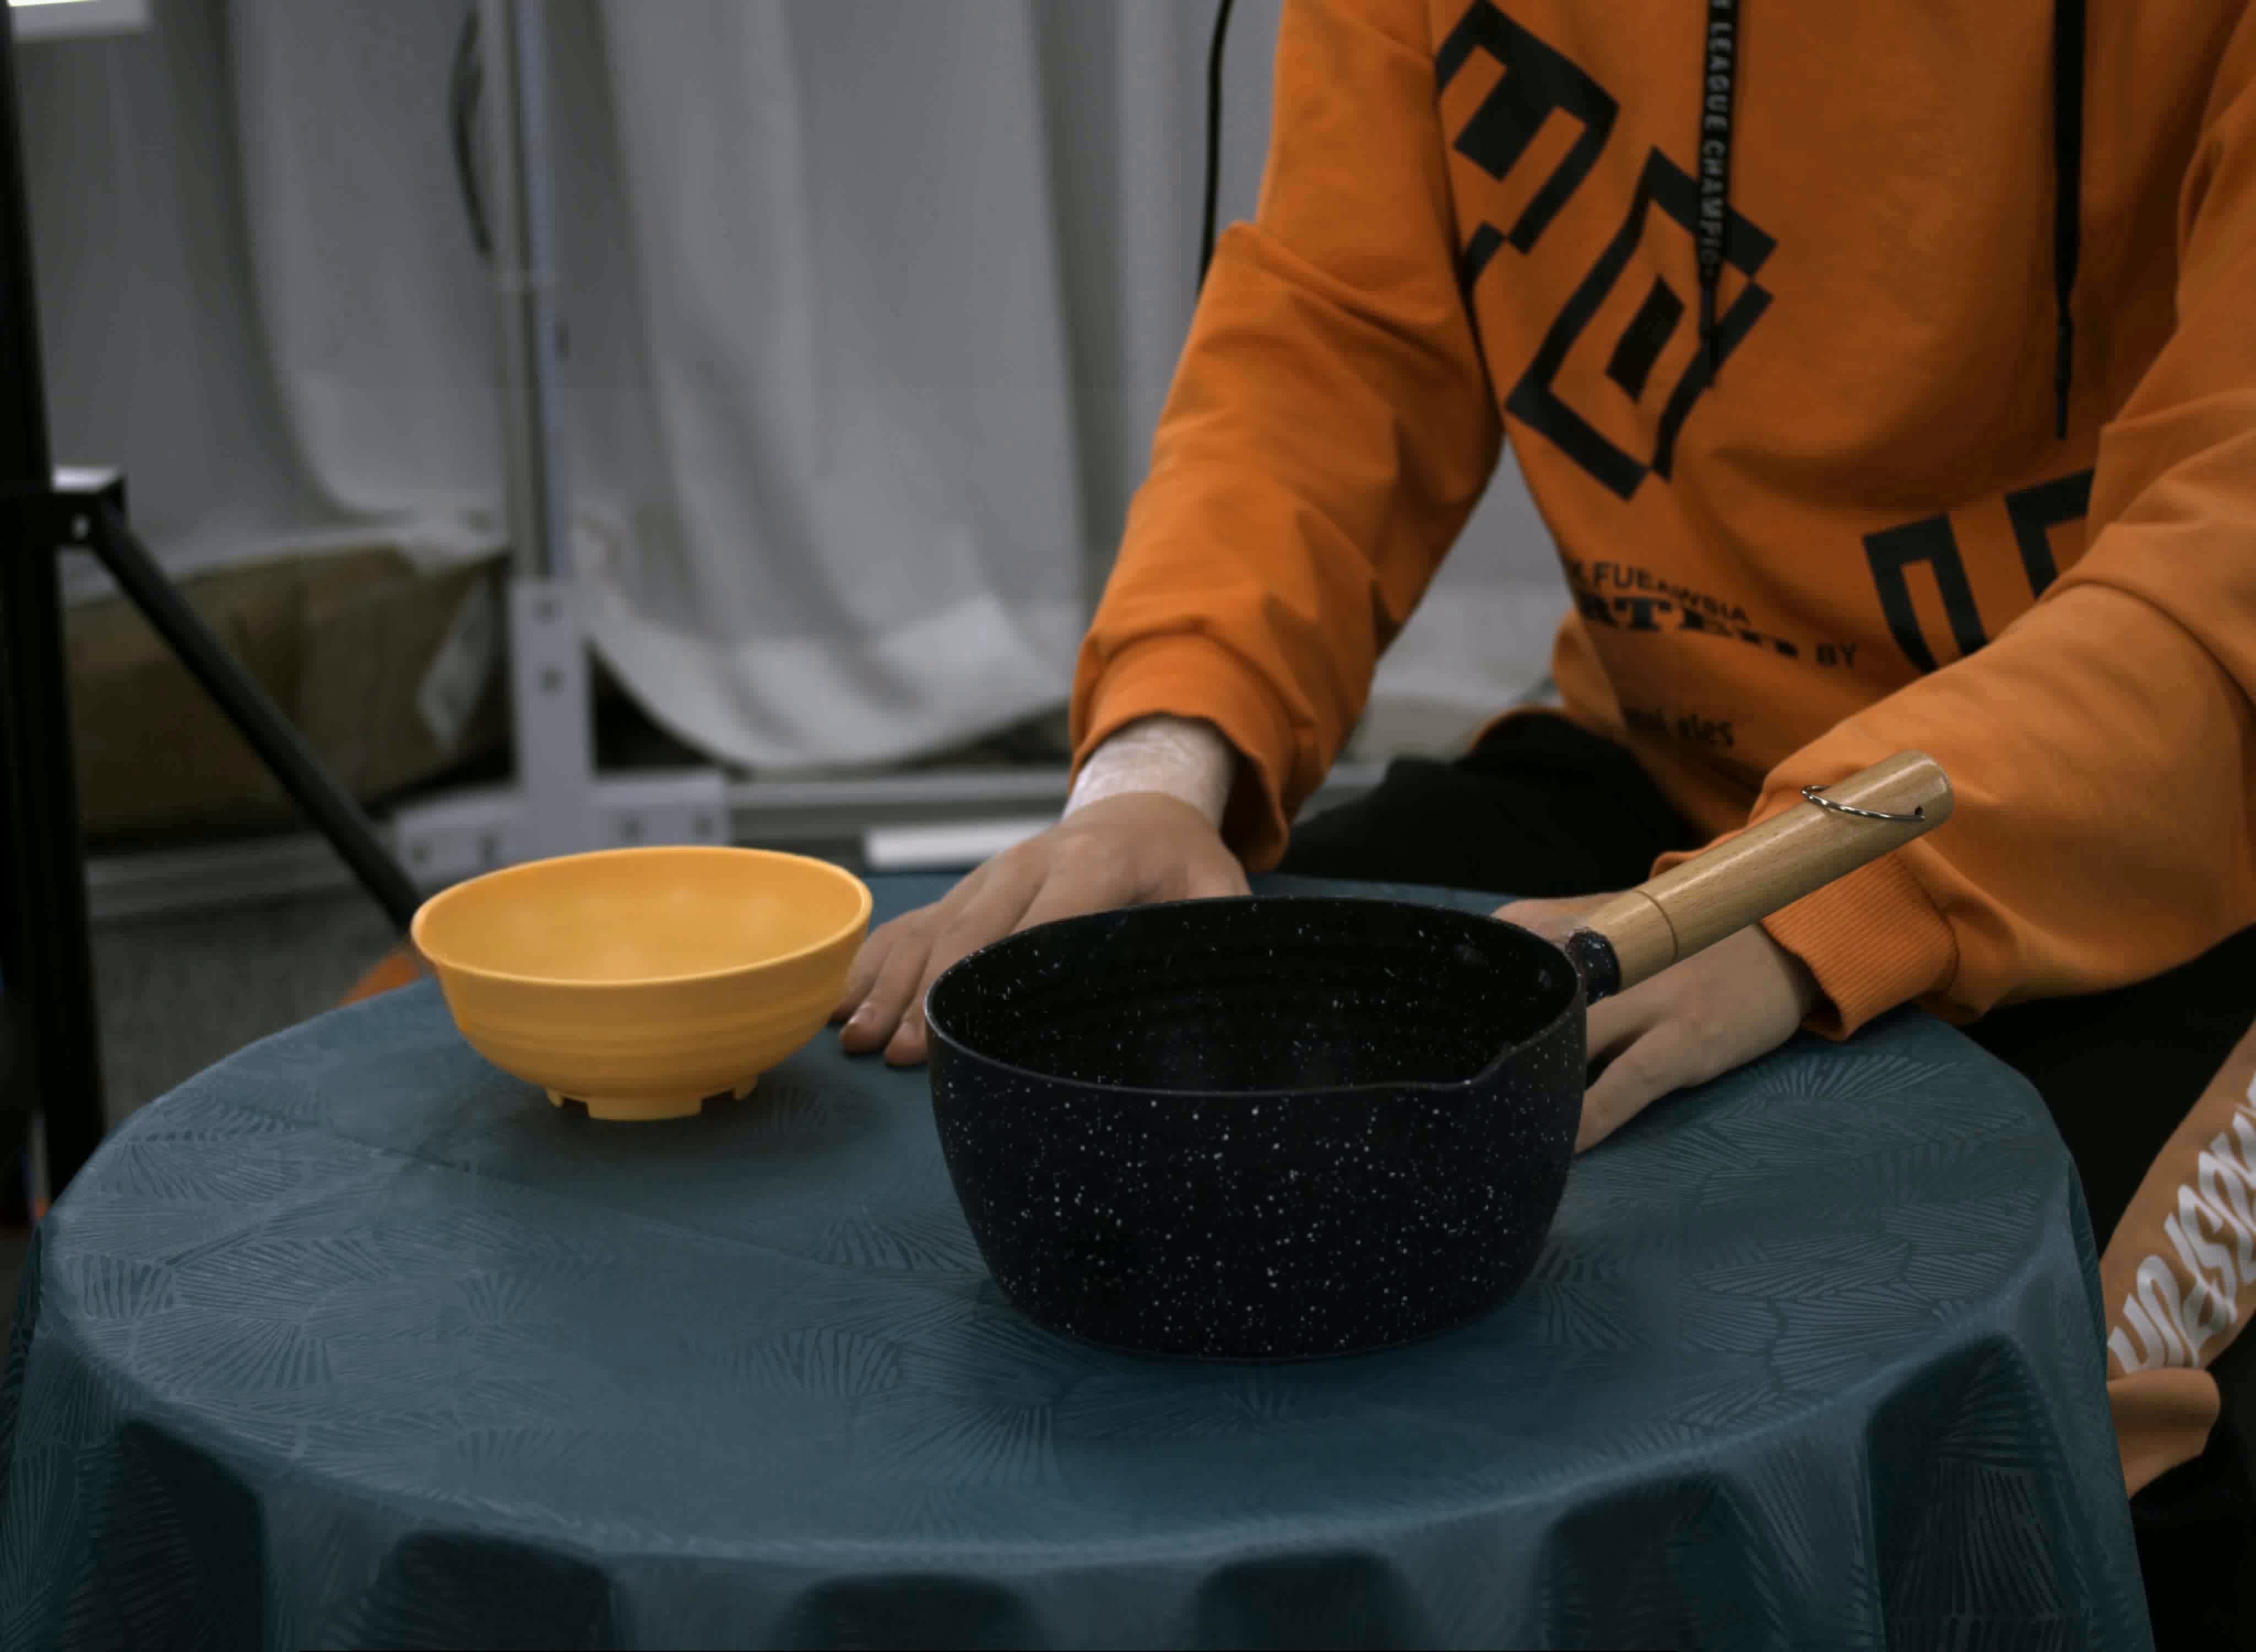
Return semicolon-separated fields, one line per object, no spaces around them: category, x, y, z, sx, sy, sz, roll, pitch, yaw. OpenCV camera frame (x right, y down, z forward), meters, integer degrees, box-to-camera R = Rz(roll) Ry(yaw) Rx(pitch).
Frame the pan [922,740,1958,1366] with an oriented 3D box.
pan;0.102;0.060;1.514;0.335;0.108;0.212;-14;18;-30

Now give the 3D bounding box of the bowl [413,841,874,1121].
bowl;-0.151;0.054;1.669;0.144;0.060;0.146;-2;16;-1
